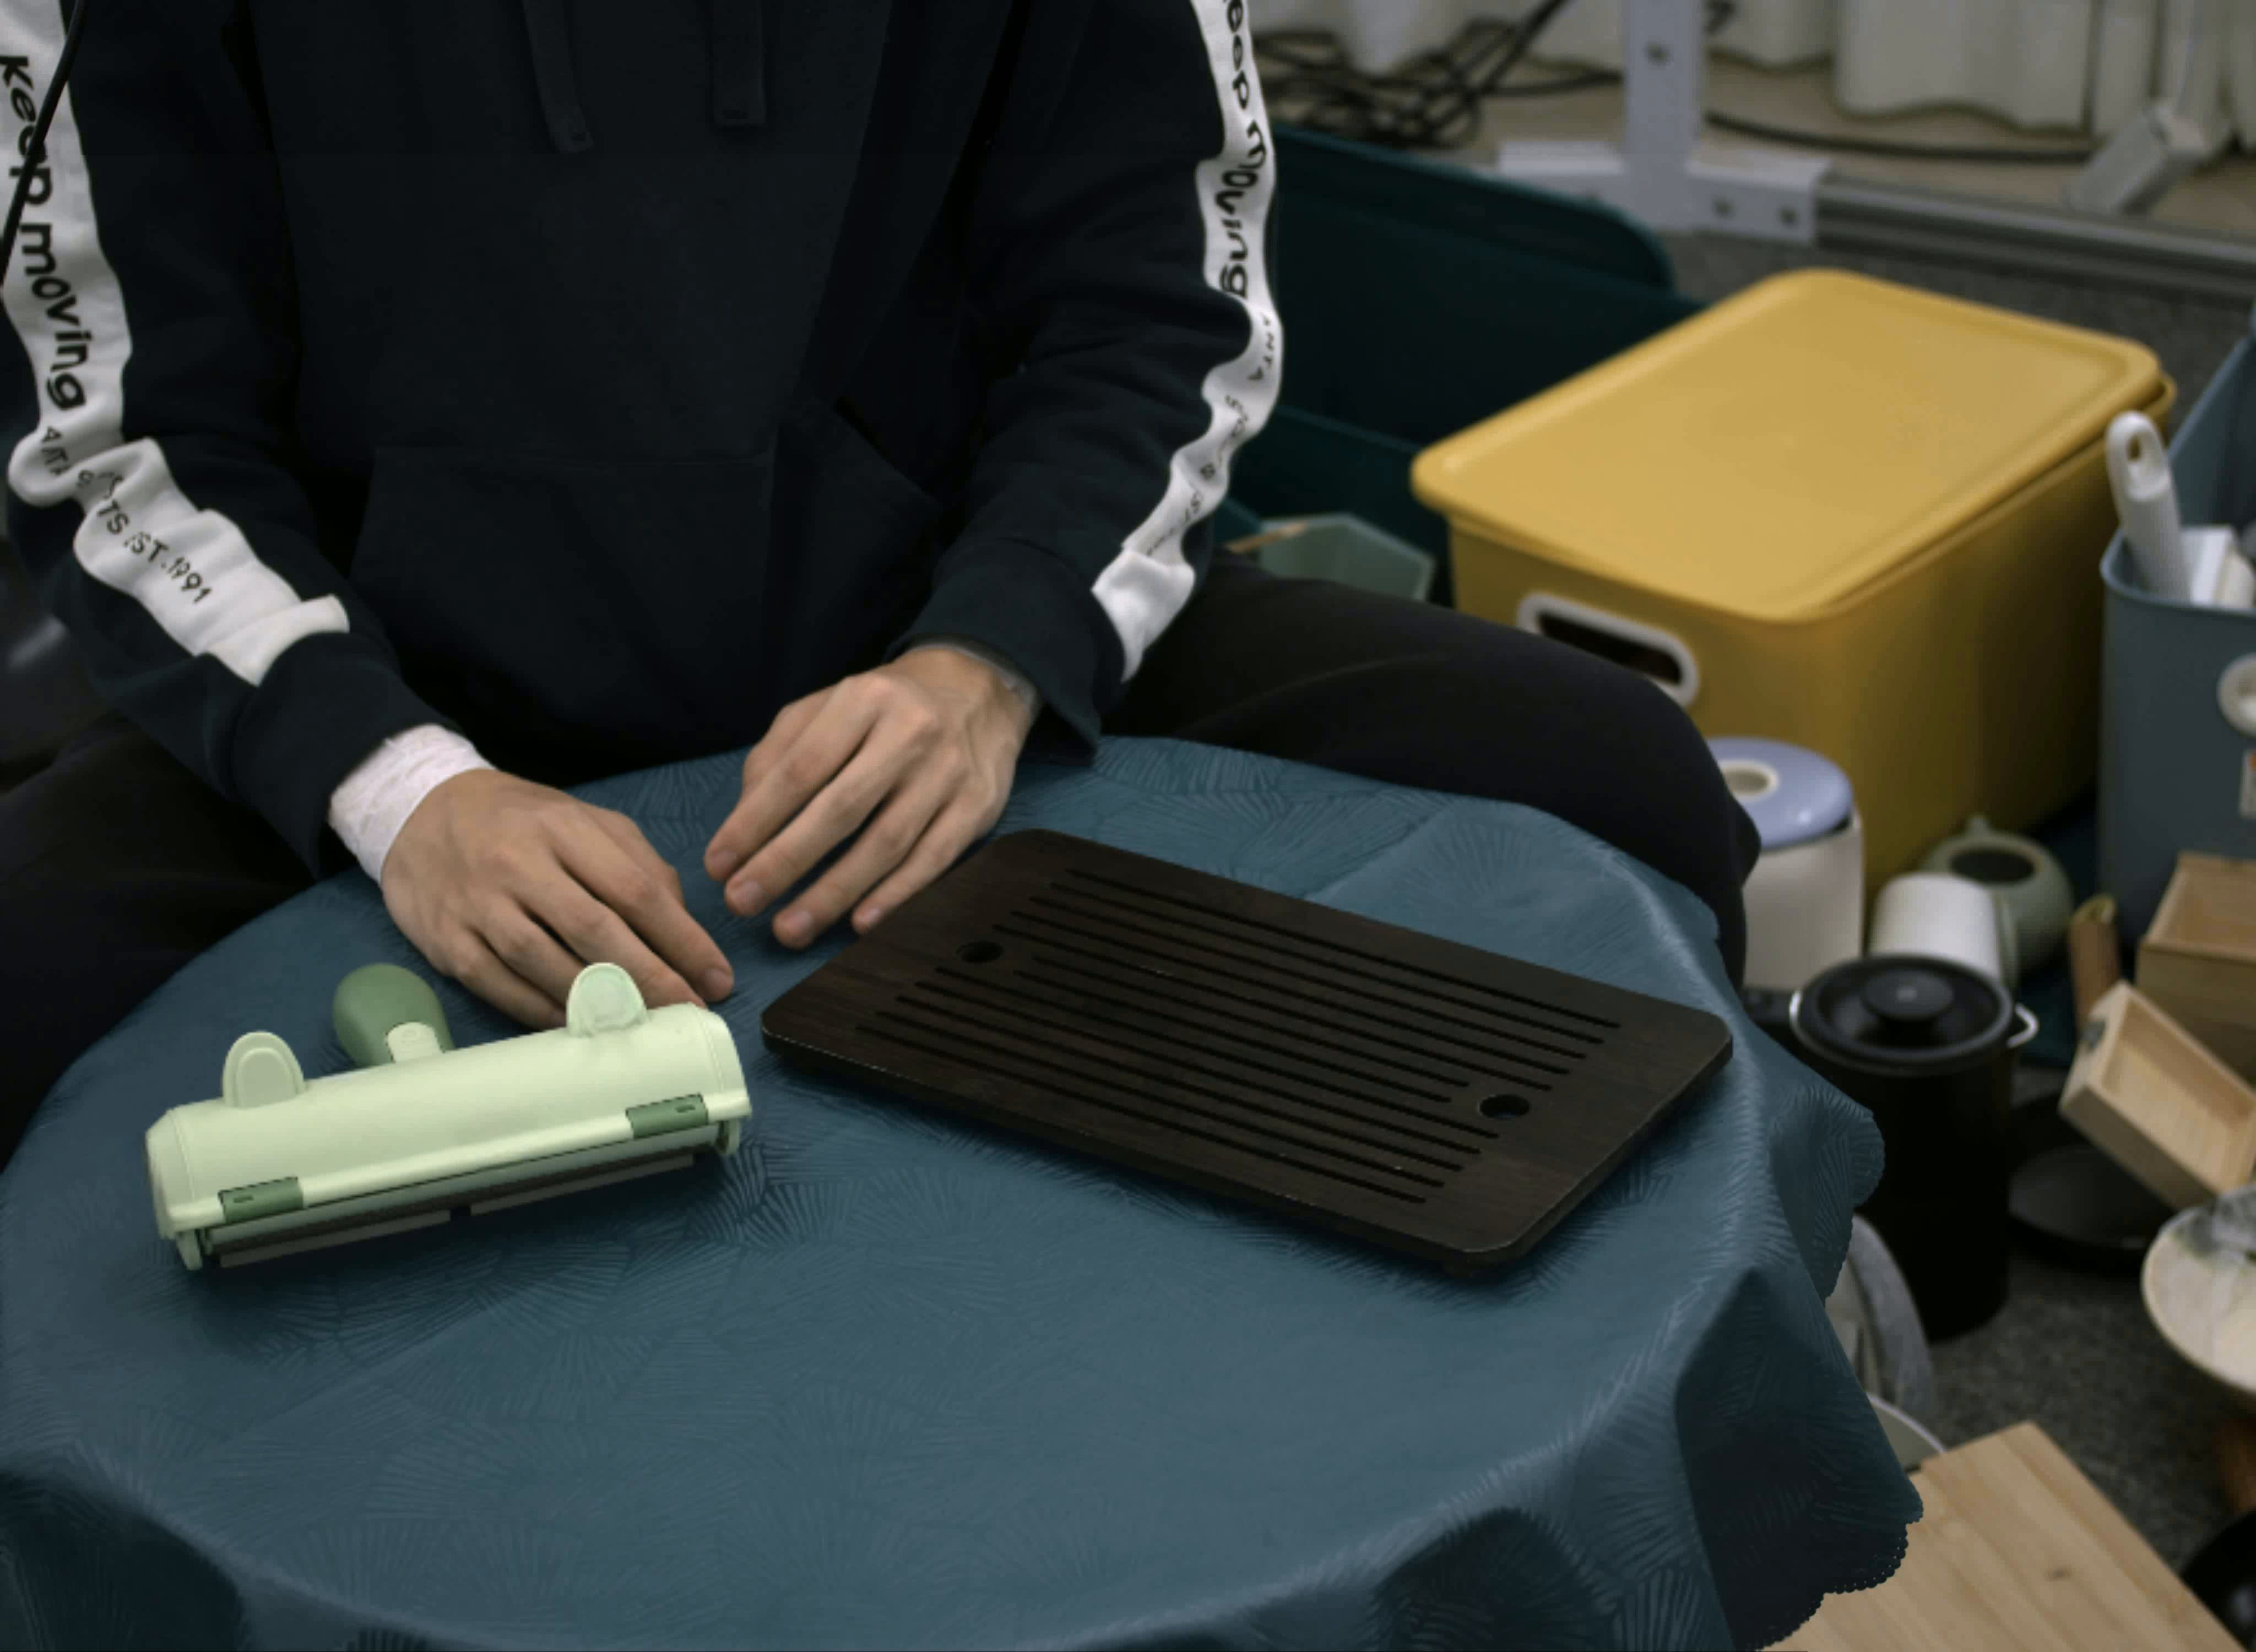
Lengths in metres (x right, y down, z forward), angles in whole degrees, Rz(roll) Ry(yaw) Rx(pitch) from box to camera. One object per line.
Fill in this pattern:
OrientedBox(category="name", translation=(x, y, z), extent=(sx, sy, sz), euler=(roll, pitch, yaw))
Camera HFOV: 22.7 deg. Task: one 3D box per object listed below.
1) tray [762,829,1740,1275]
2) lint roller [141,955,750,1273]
OrientedBox(category="tray", translation=(0.040, 0.075, 1.927), extent=(0.304, 0.018, 0.173), euler=(15, 33, 31))
OrientedBox(category="lint roller", translation=(-0.242, 0.070, 1.897), extent=(0.199, 0.081, 0.185), euler=(-11, 32, -15))
